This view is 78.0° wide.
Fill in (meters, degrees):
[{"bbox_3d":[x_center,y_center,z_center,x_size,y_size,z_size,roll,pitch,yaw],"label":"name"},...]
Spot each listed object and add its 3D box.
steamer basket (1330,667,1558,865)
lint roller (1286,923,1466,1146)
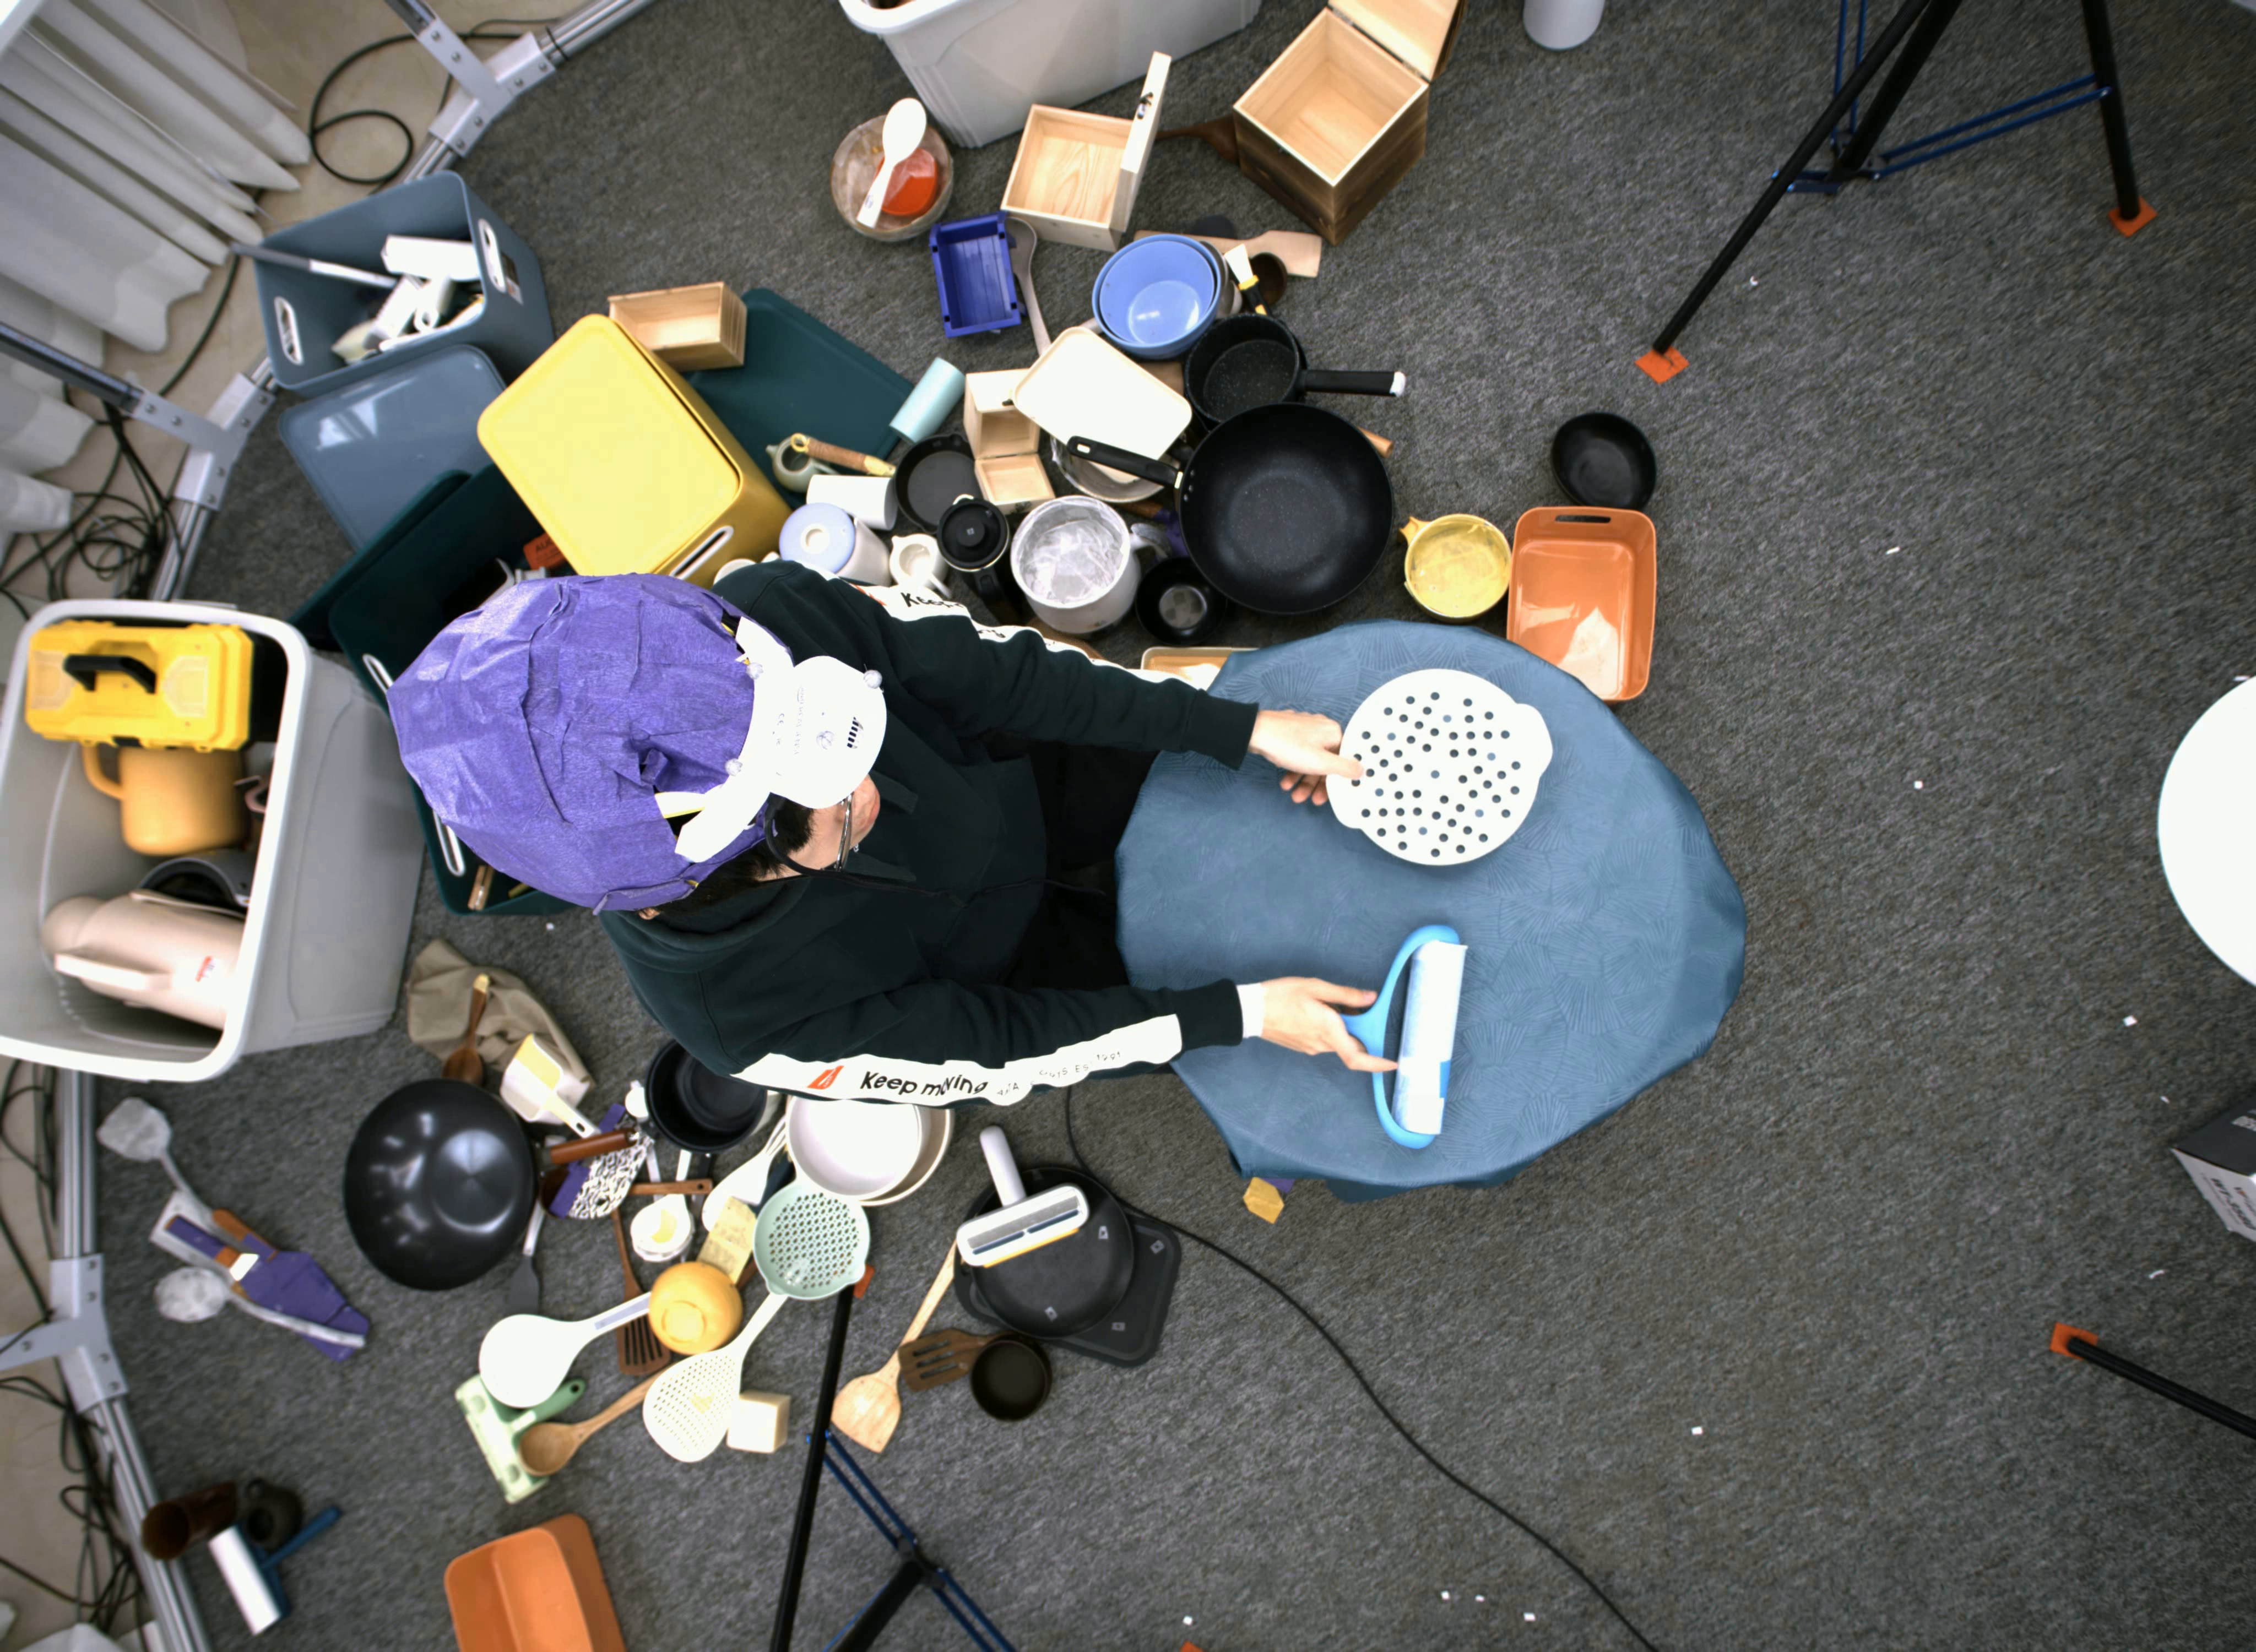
[{"bbox_3d":[0.324,-0.061,1.417,0.232,0.069,0.200,-18,83,9],"label":"steamer basket"},{"bbox_3d":[0.252,0.209,1.424,0.181,0.068,0.228,3,90,9],"label":"lint roller"}]
